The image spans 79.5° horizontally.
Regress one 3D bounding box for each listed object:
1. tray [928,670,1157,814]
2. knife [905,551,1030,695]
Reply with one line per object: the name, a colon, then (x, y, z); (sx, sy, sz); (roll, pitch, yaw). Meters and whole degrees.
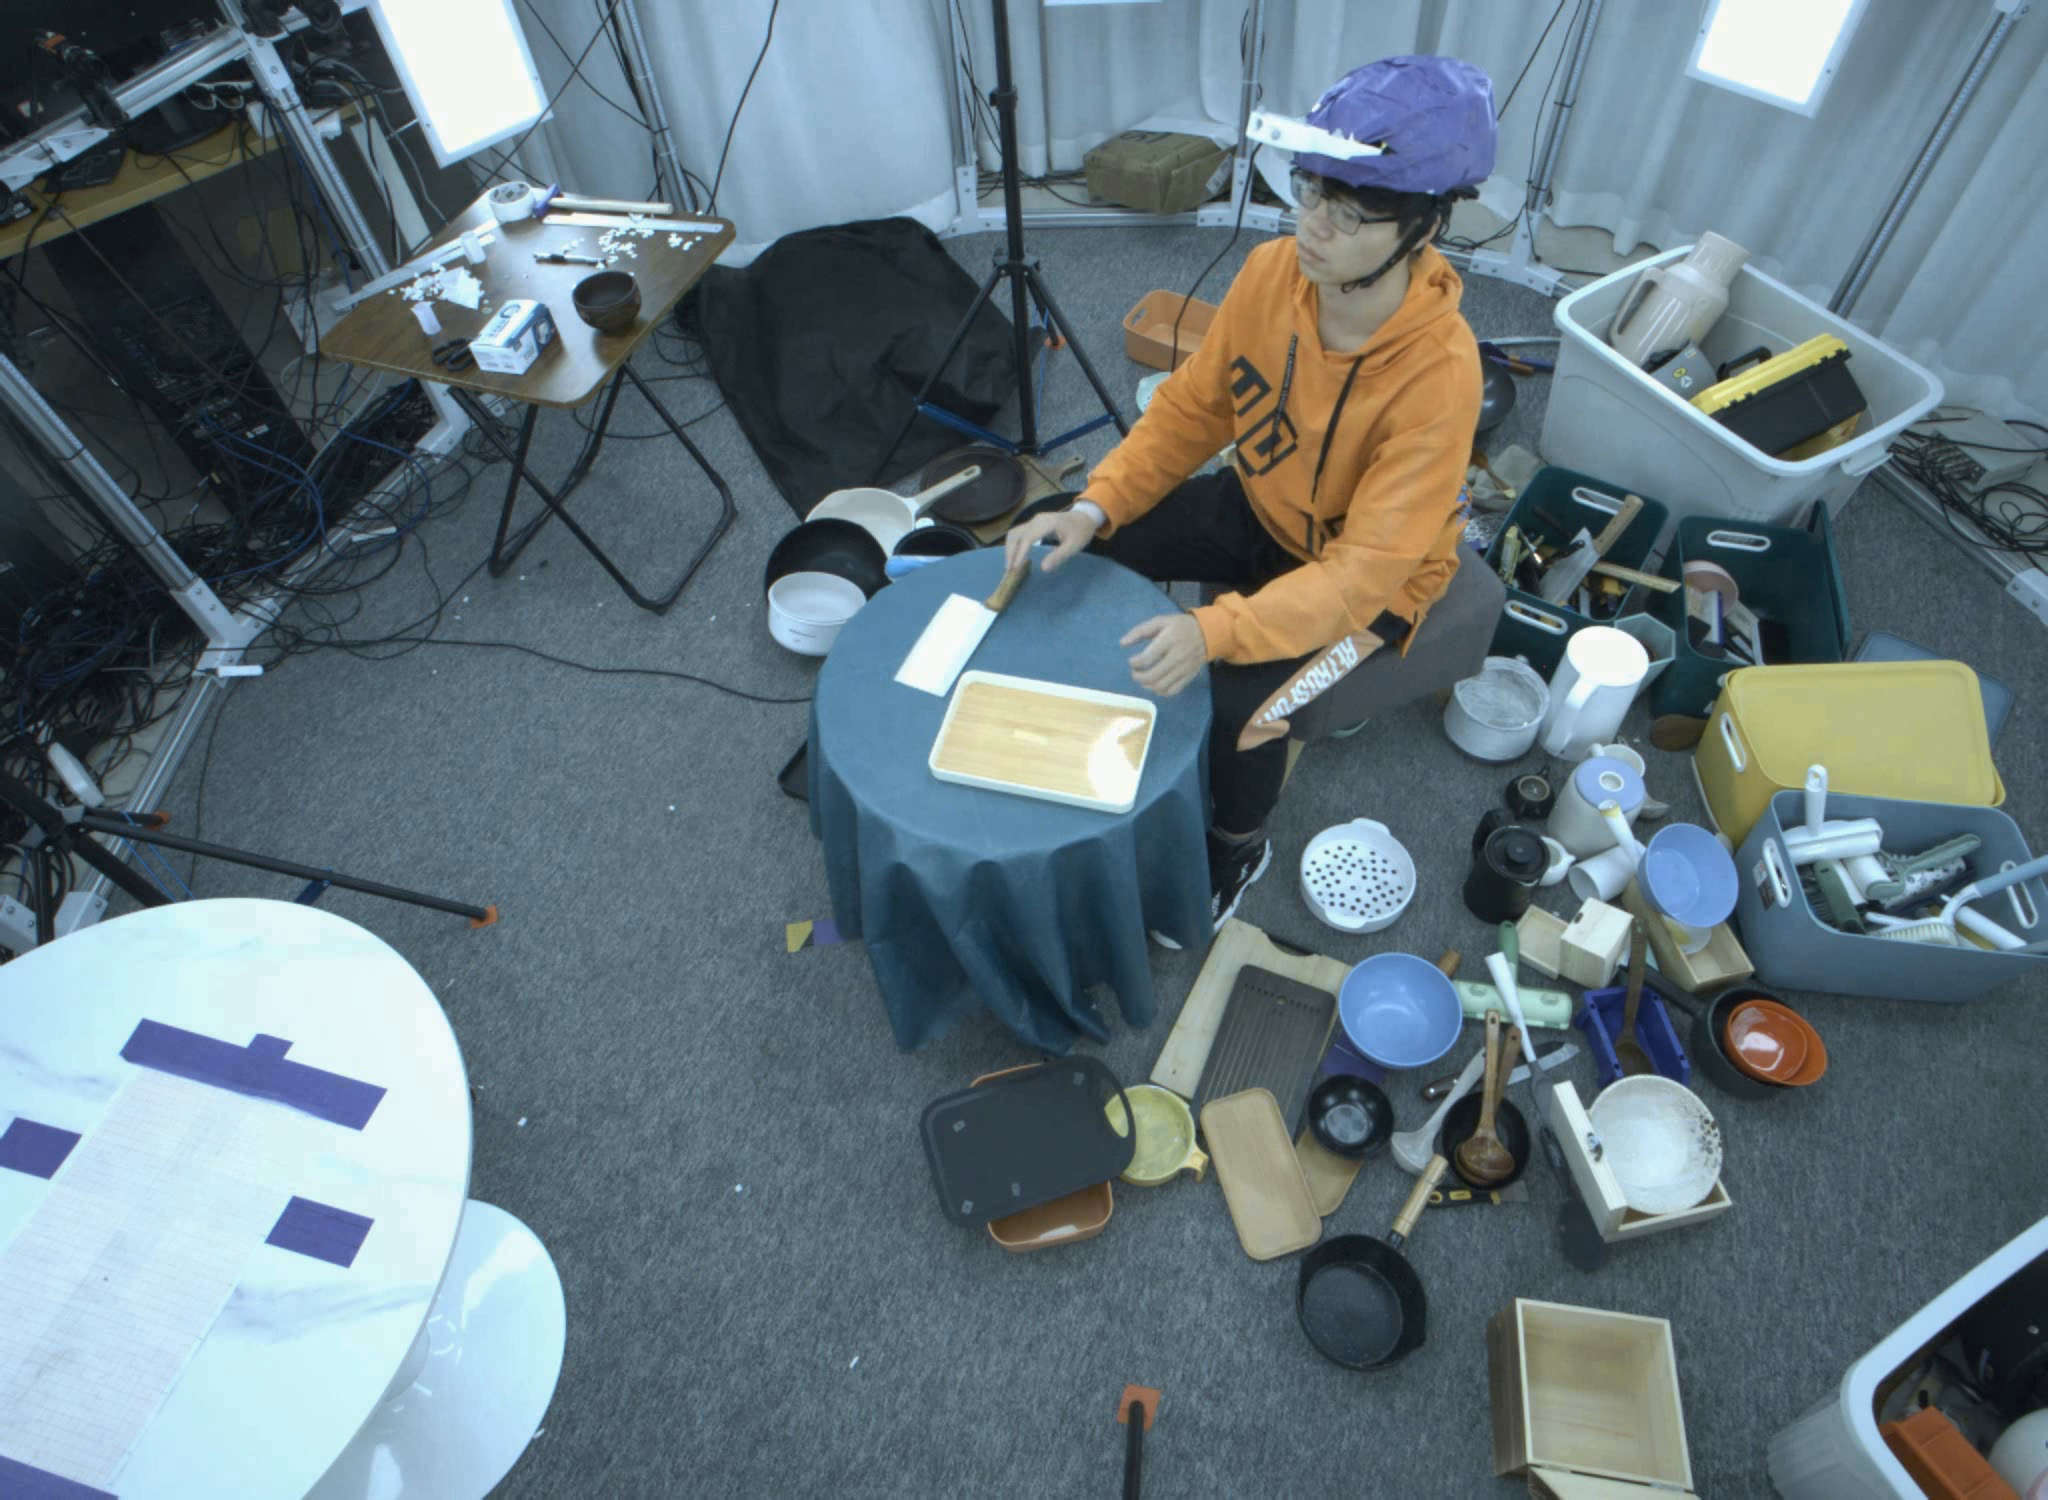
tray: (0.029, -0.015, 1.780); (0.298, 0.028, 0.191); (11, 56, 10)
knife: (-0.092, -0.209, 1.929); (0.091, 0.021, 0.306); (21, 60, 18)
